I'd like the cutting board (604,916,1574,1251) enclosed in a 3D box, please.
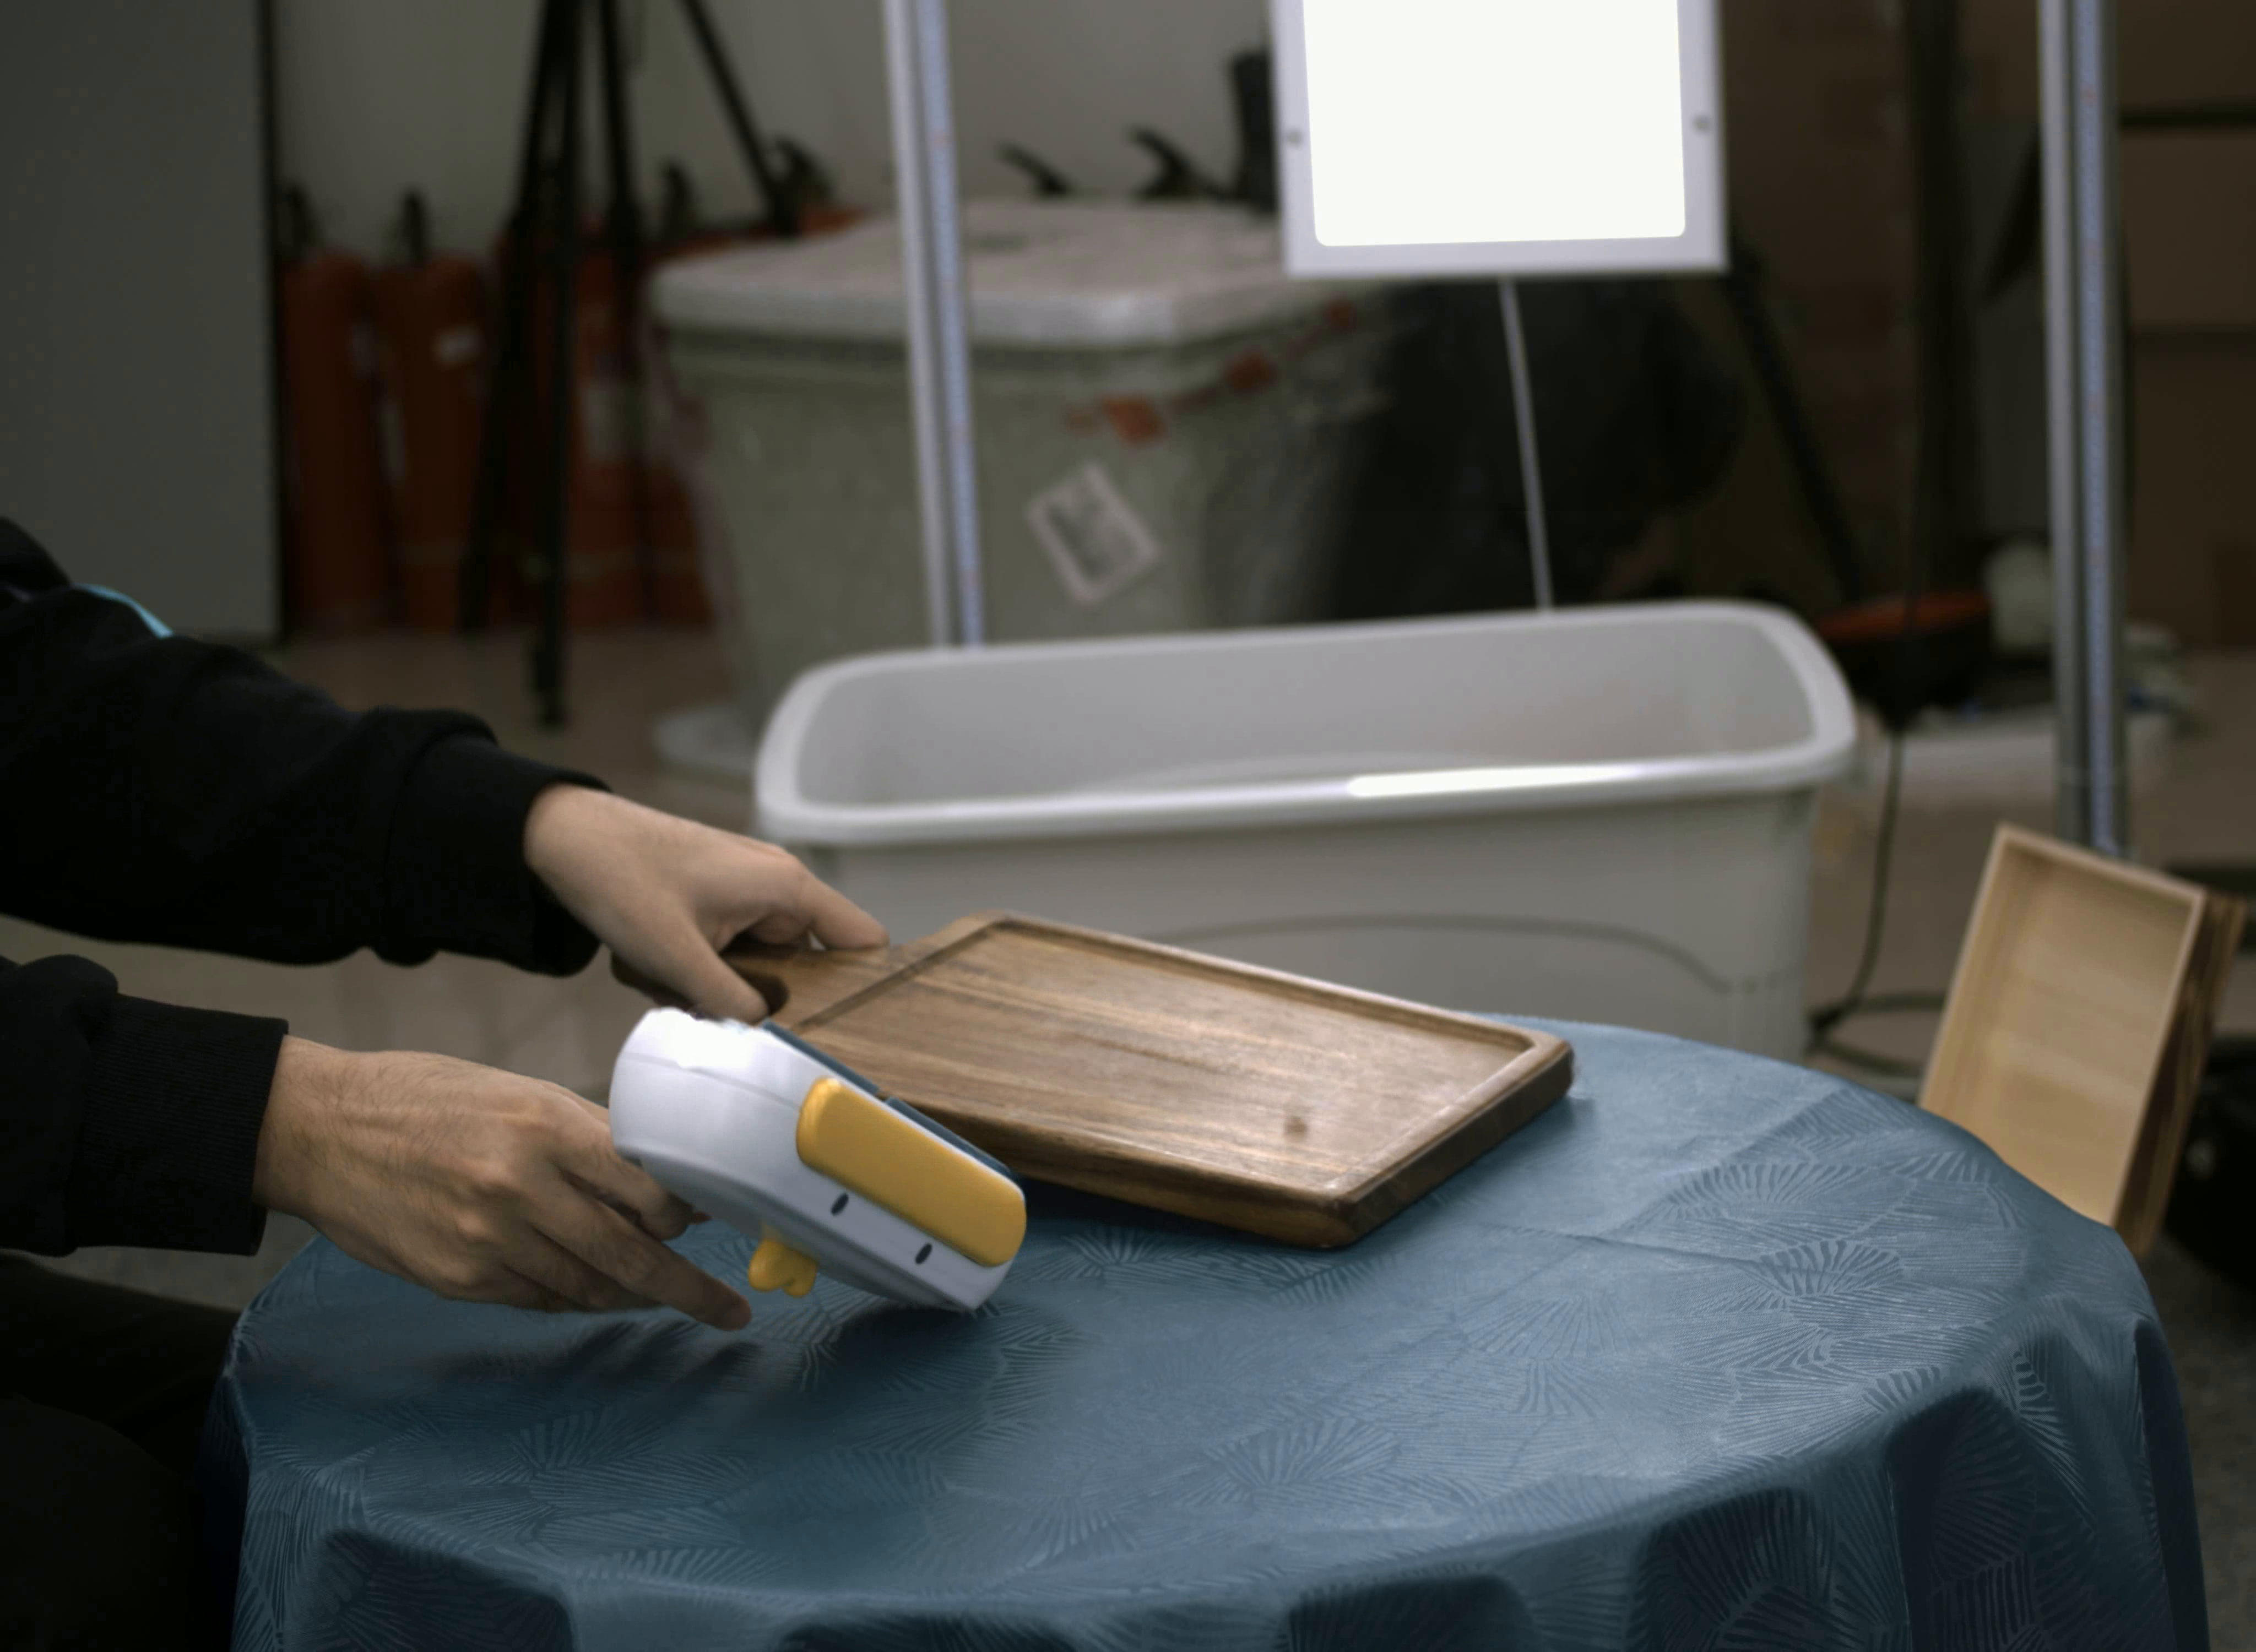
[{"bbox_3d":[-0.036,0.078,1.968,0.358,0.023,0.196,11,20,28],"label":"cutting board"}]

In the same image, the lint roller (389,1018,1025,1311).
[{"bbox_3d":[-0.150,0.112,1.751,0.196,0.074,0.189,1,-13,32],"label":"lint roller"}]
